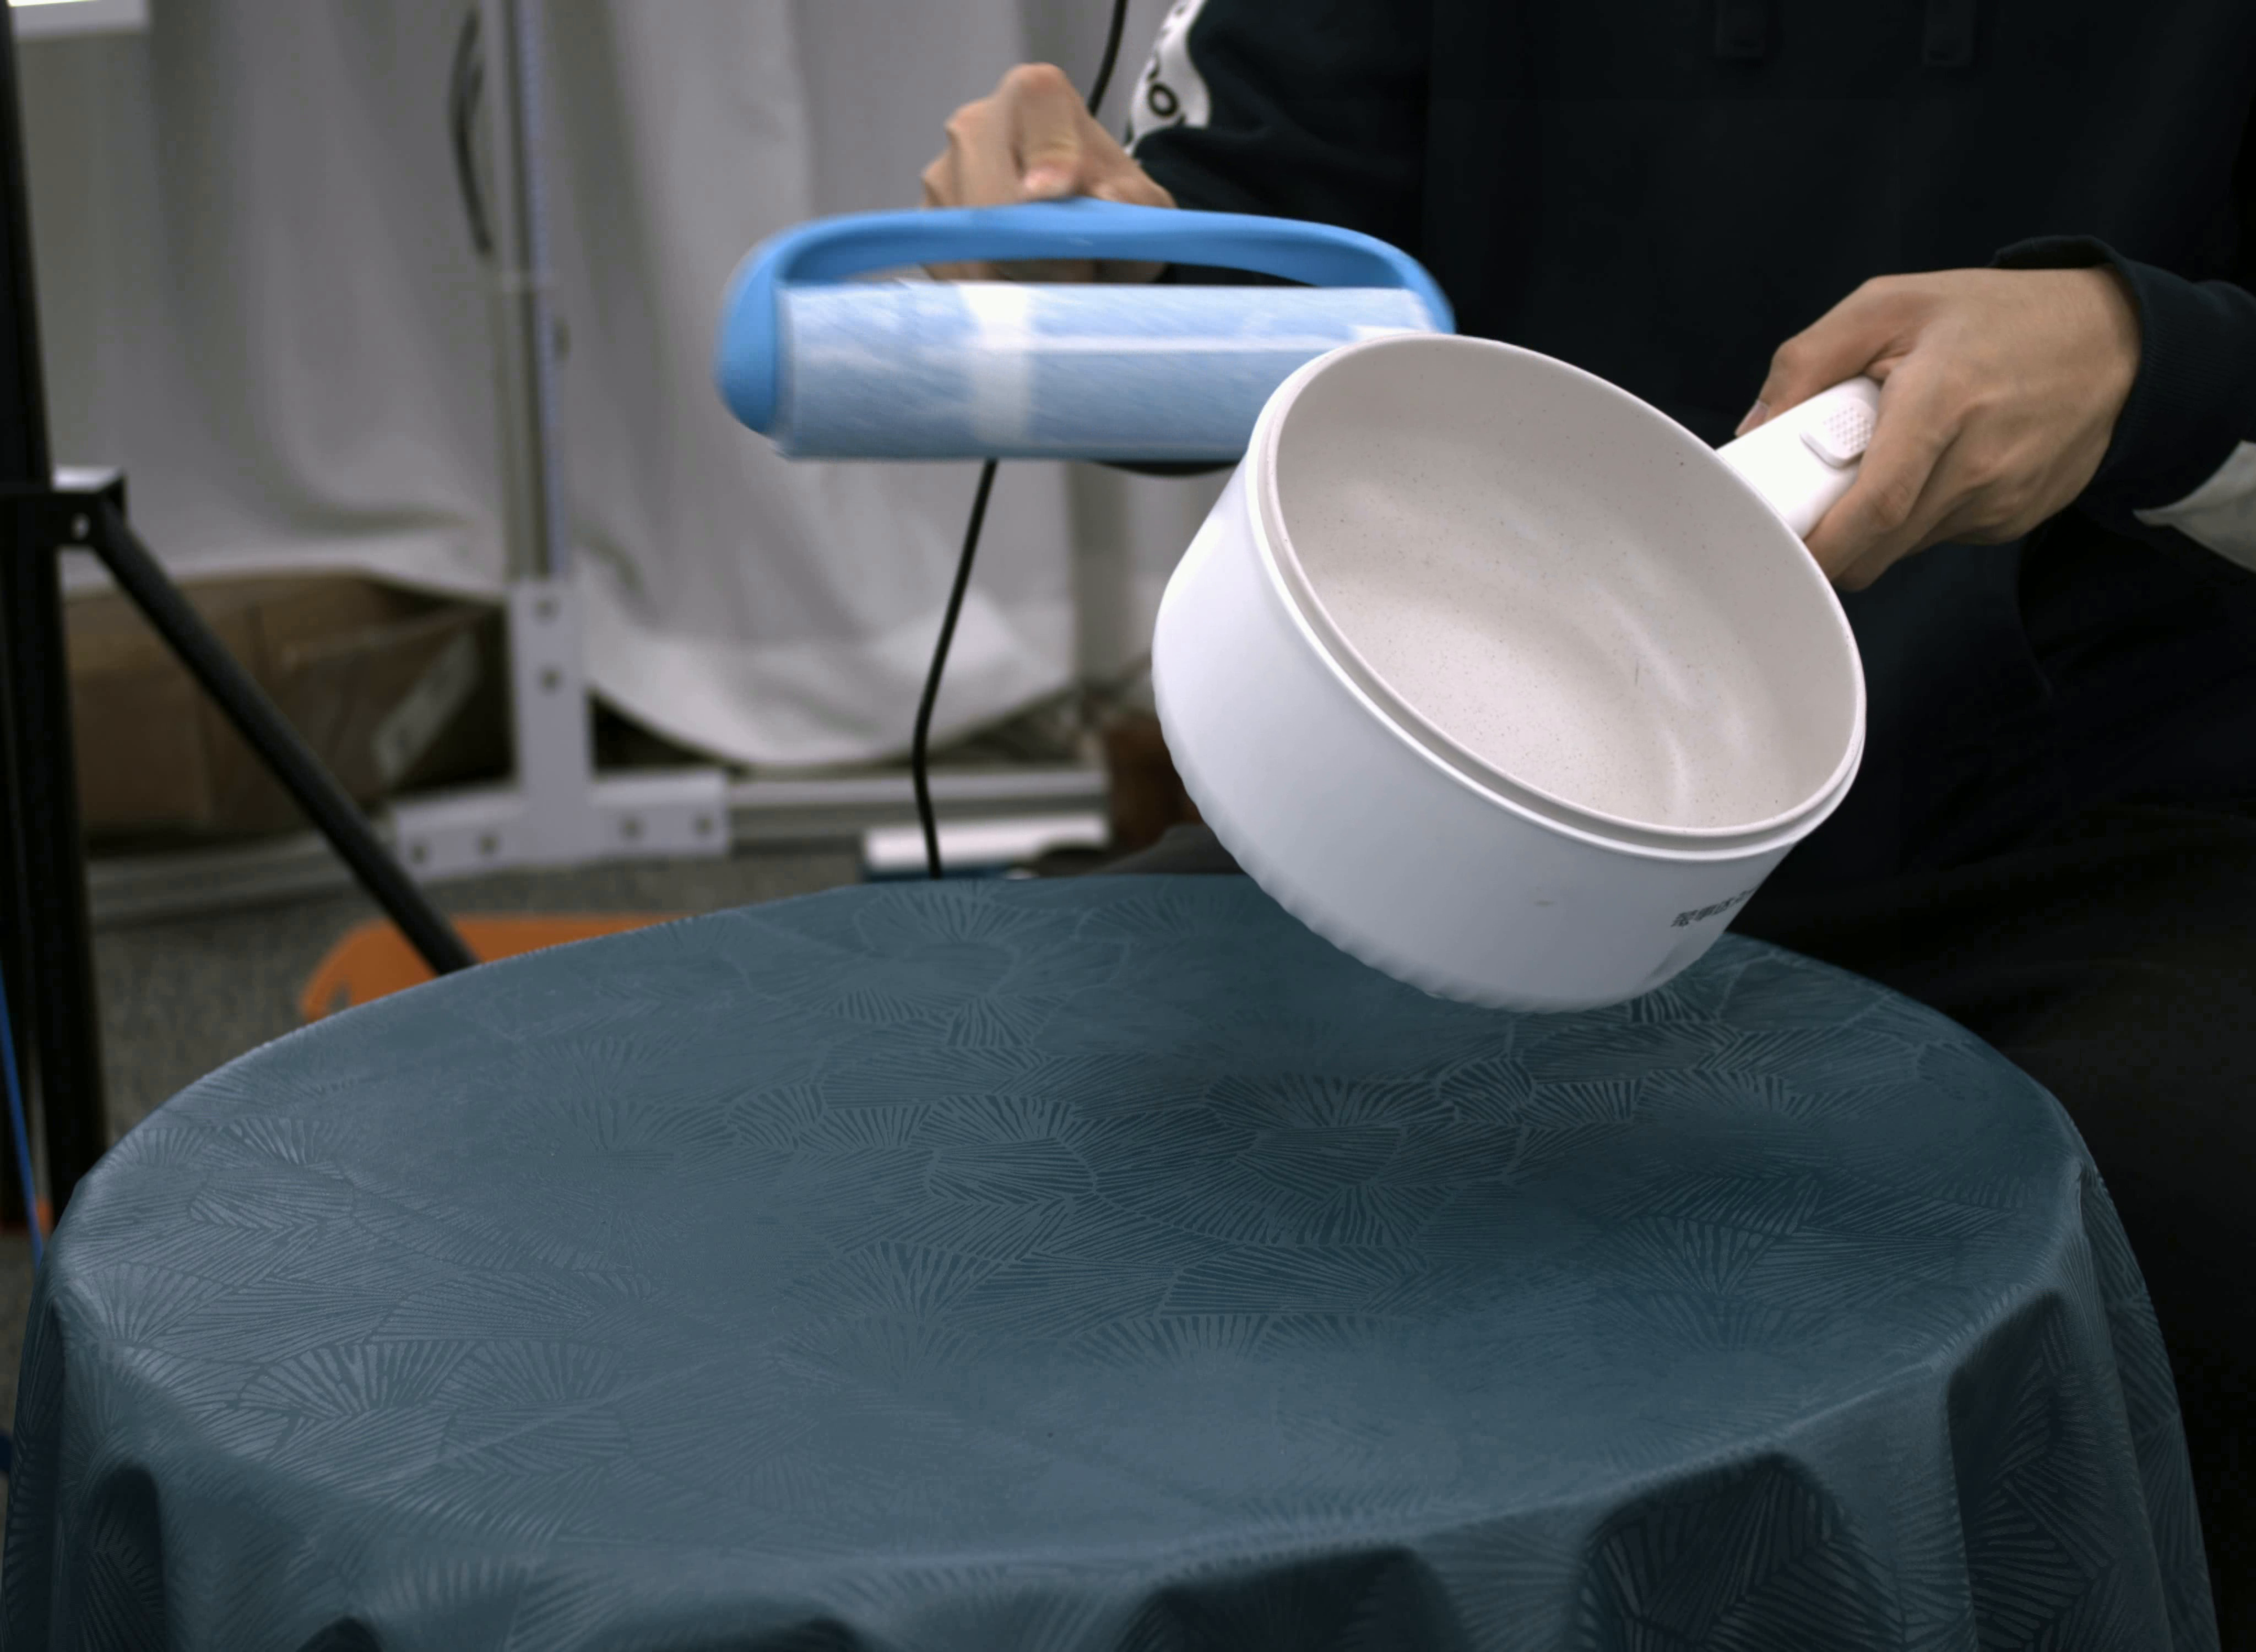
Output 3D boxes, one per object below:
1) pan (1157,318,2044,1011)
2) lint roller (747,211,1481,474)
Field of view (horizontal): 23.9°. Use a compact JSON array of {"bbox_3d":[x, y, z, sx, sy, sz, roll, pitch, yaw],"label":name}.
[{"bbox_3d":[0.154,-0.066,1.602,0.204,0.103,0.348,47,42,15],"label":"pan"},{"bbox_3d":[-0.016,-0.161,1.664,0.226,0.068,0.183,-4,26,-11],"label":"lint roller"}]
